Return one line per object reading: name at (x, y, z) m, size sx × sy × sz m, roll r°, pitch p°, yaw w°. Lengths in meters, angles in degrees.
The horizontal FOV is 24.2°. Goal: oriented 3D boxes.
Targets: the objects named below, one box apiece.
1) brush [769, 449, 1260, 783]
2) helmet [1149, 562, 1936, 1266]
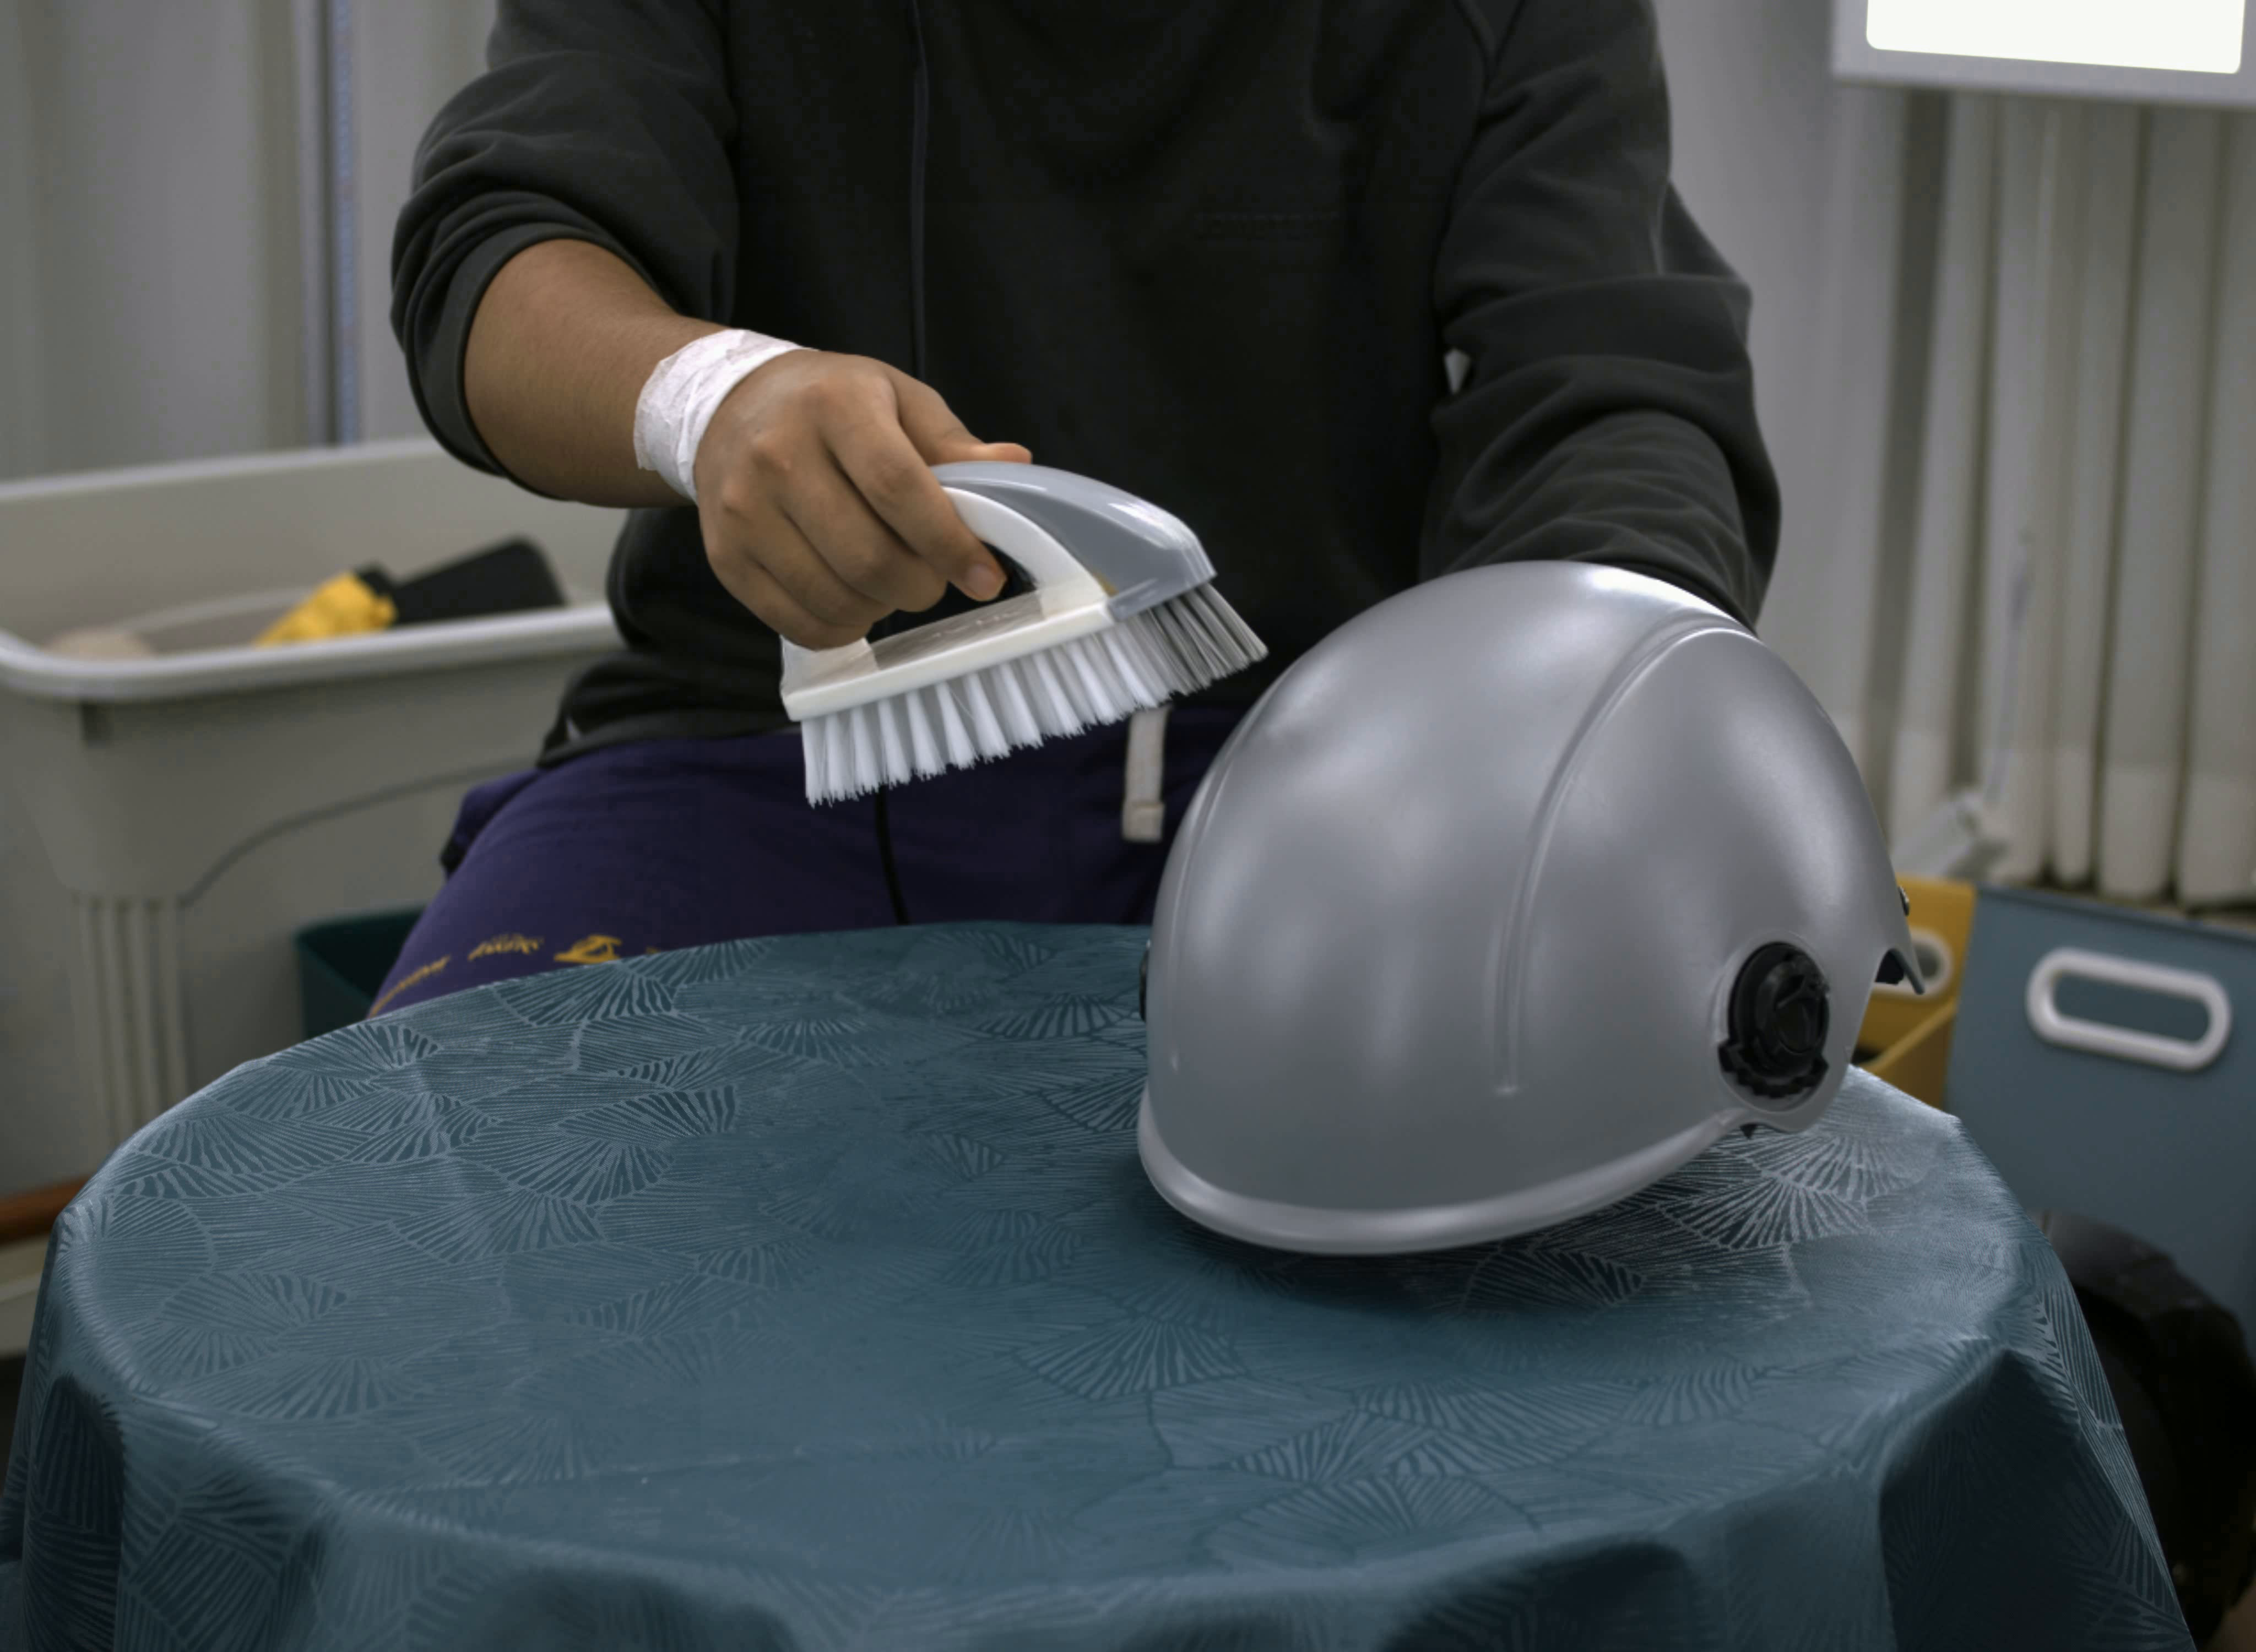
brush at (-0.041, -0.073, 1.617) m, size 0.174 × 0.095 × 0.061 m, roll -11°, pitch 18°, yaw 40°
helmet at (0.116, 0.011, 1.612) m, size 0.229 × 0.170 × 0.277 m, roll 1°, pitch 19°, yaw 33°
